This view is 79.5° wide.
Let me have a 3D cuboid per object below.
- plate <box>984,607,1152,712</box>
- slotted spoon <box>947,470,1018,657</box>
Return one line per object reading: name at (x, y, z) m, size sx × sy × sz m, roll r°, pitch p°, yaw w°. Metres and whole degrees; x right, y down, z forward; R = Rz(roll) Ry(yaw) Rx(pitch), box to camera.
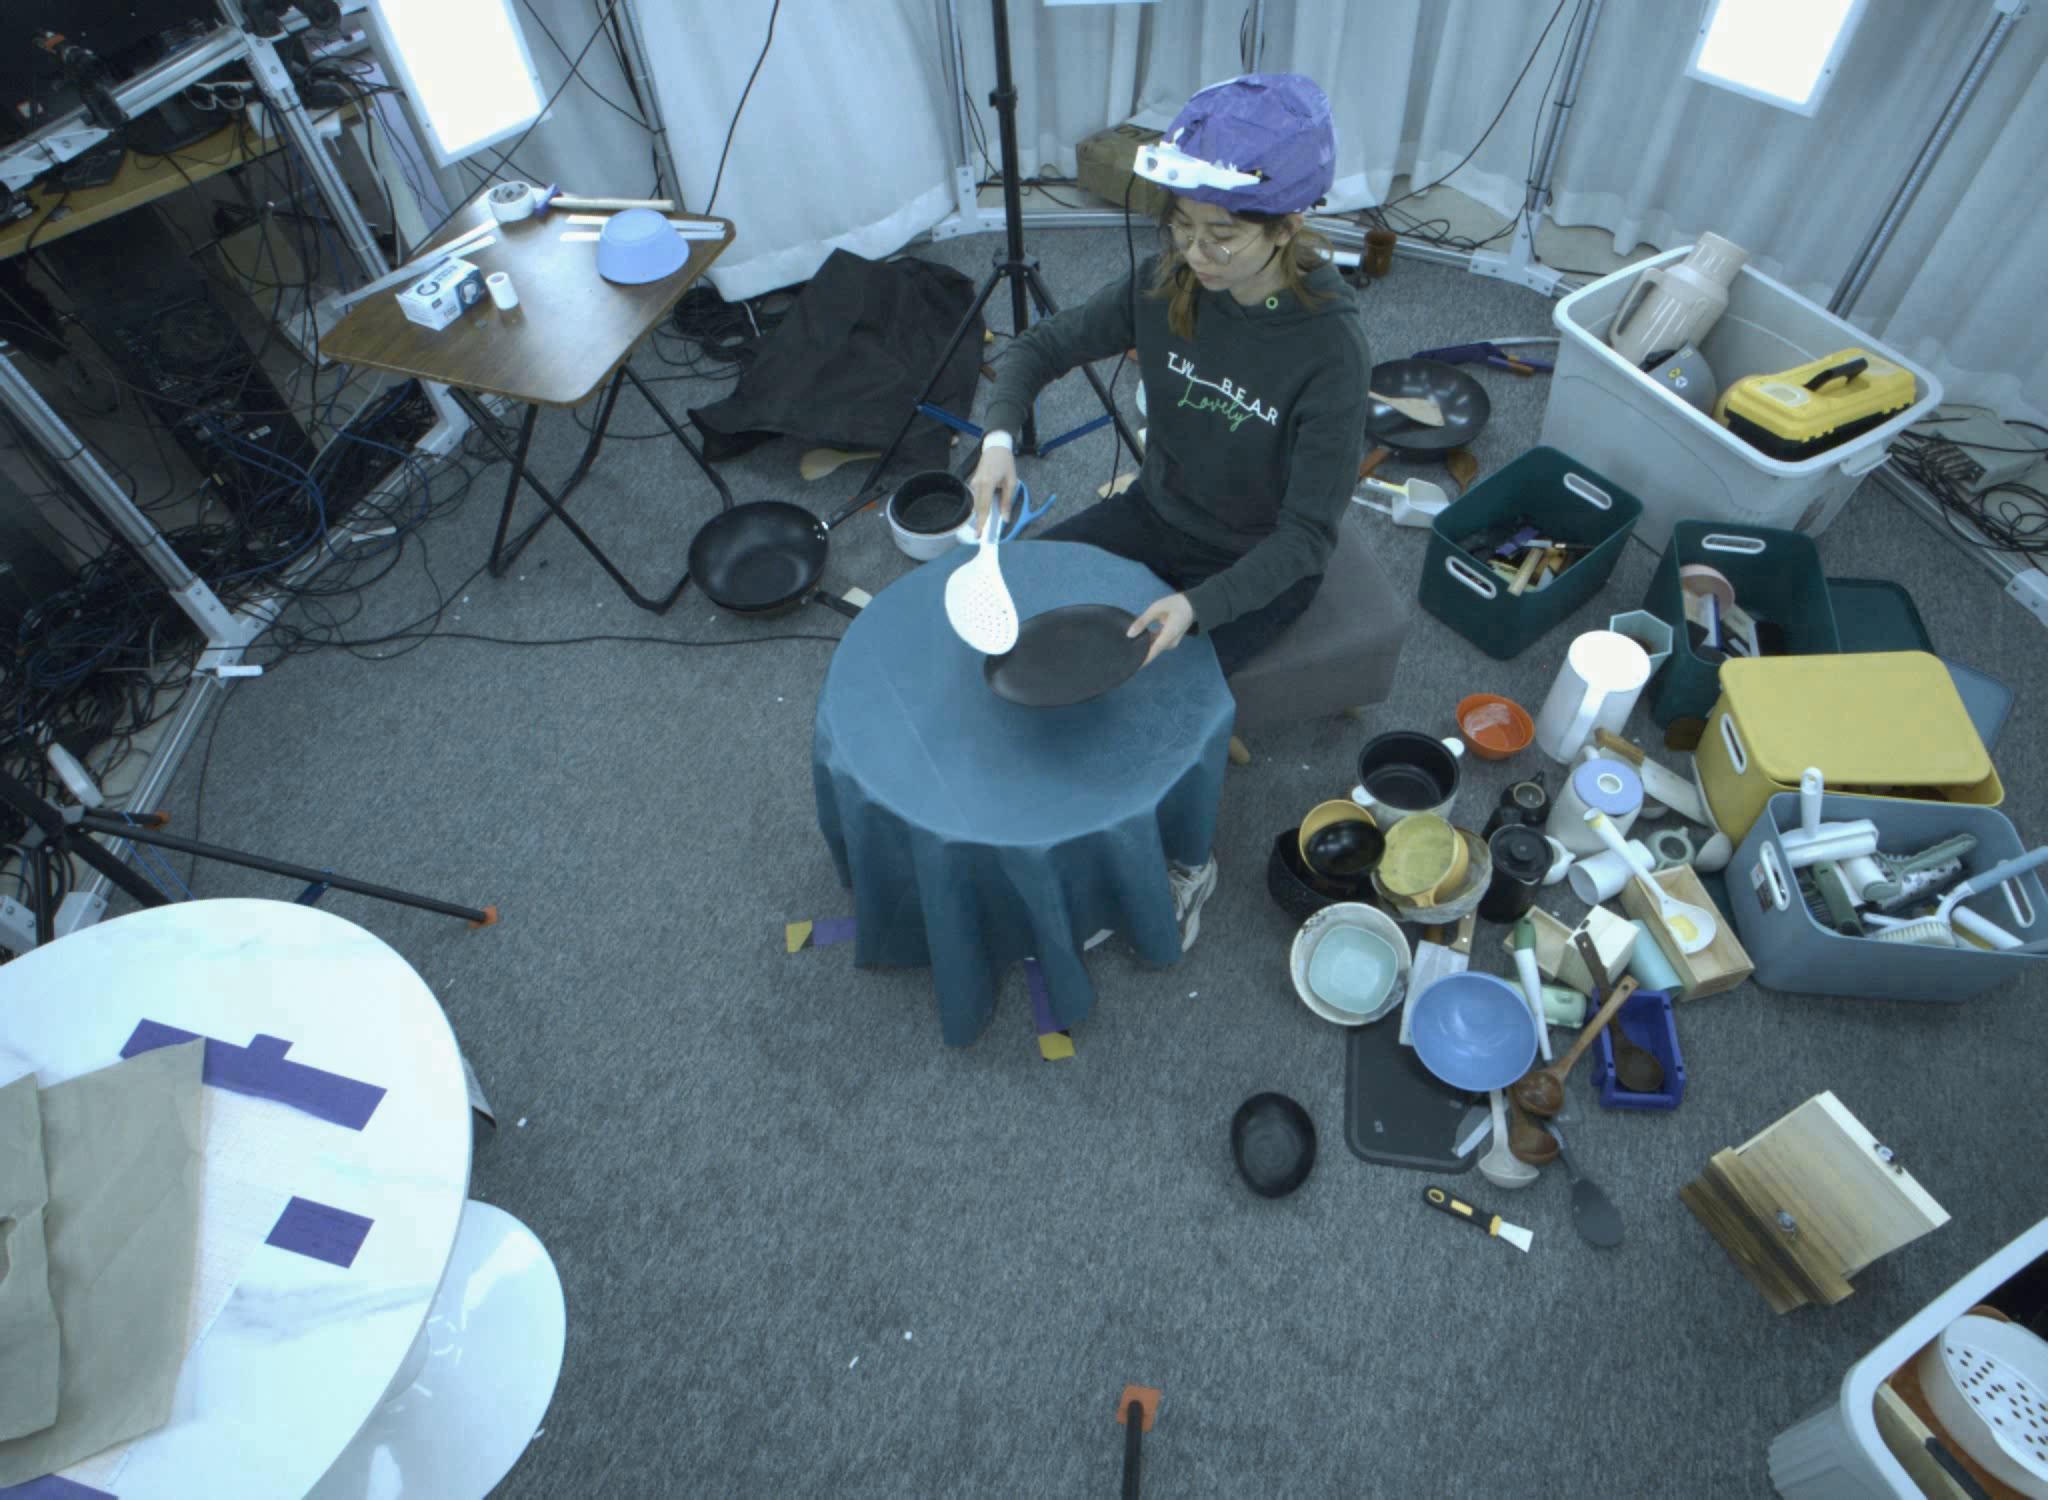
plate at (0.064, -0.126, 1.757) m, size 0.243 × 0.024 × 0.242 m, roll -9°, pitch 40°, yaw 9°
slotted spoon at (-0.053, -0.288, 1.833) m, size 0.045 × 0.139 × 0.347 m, roll -19°, pitch 52°, yaw 43°
